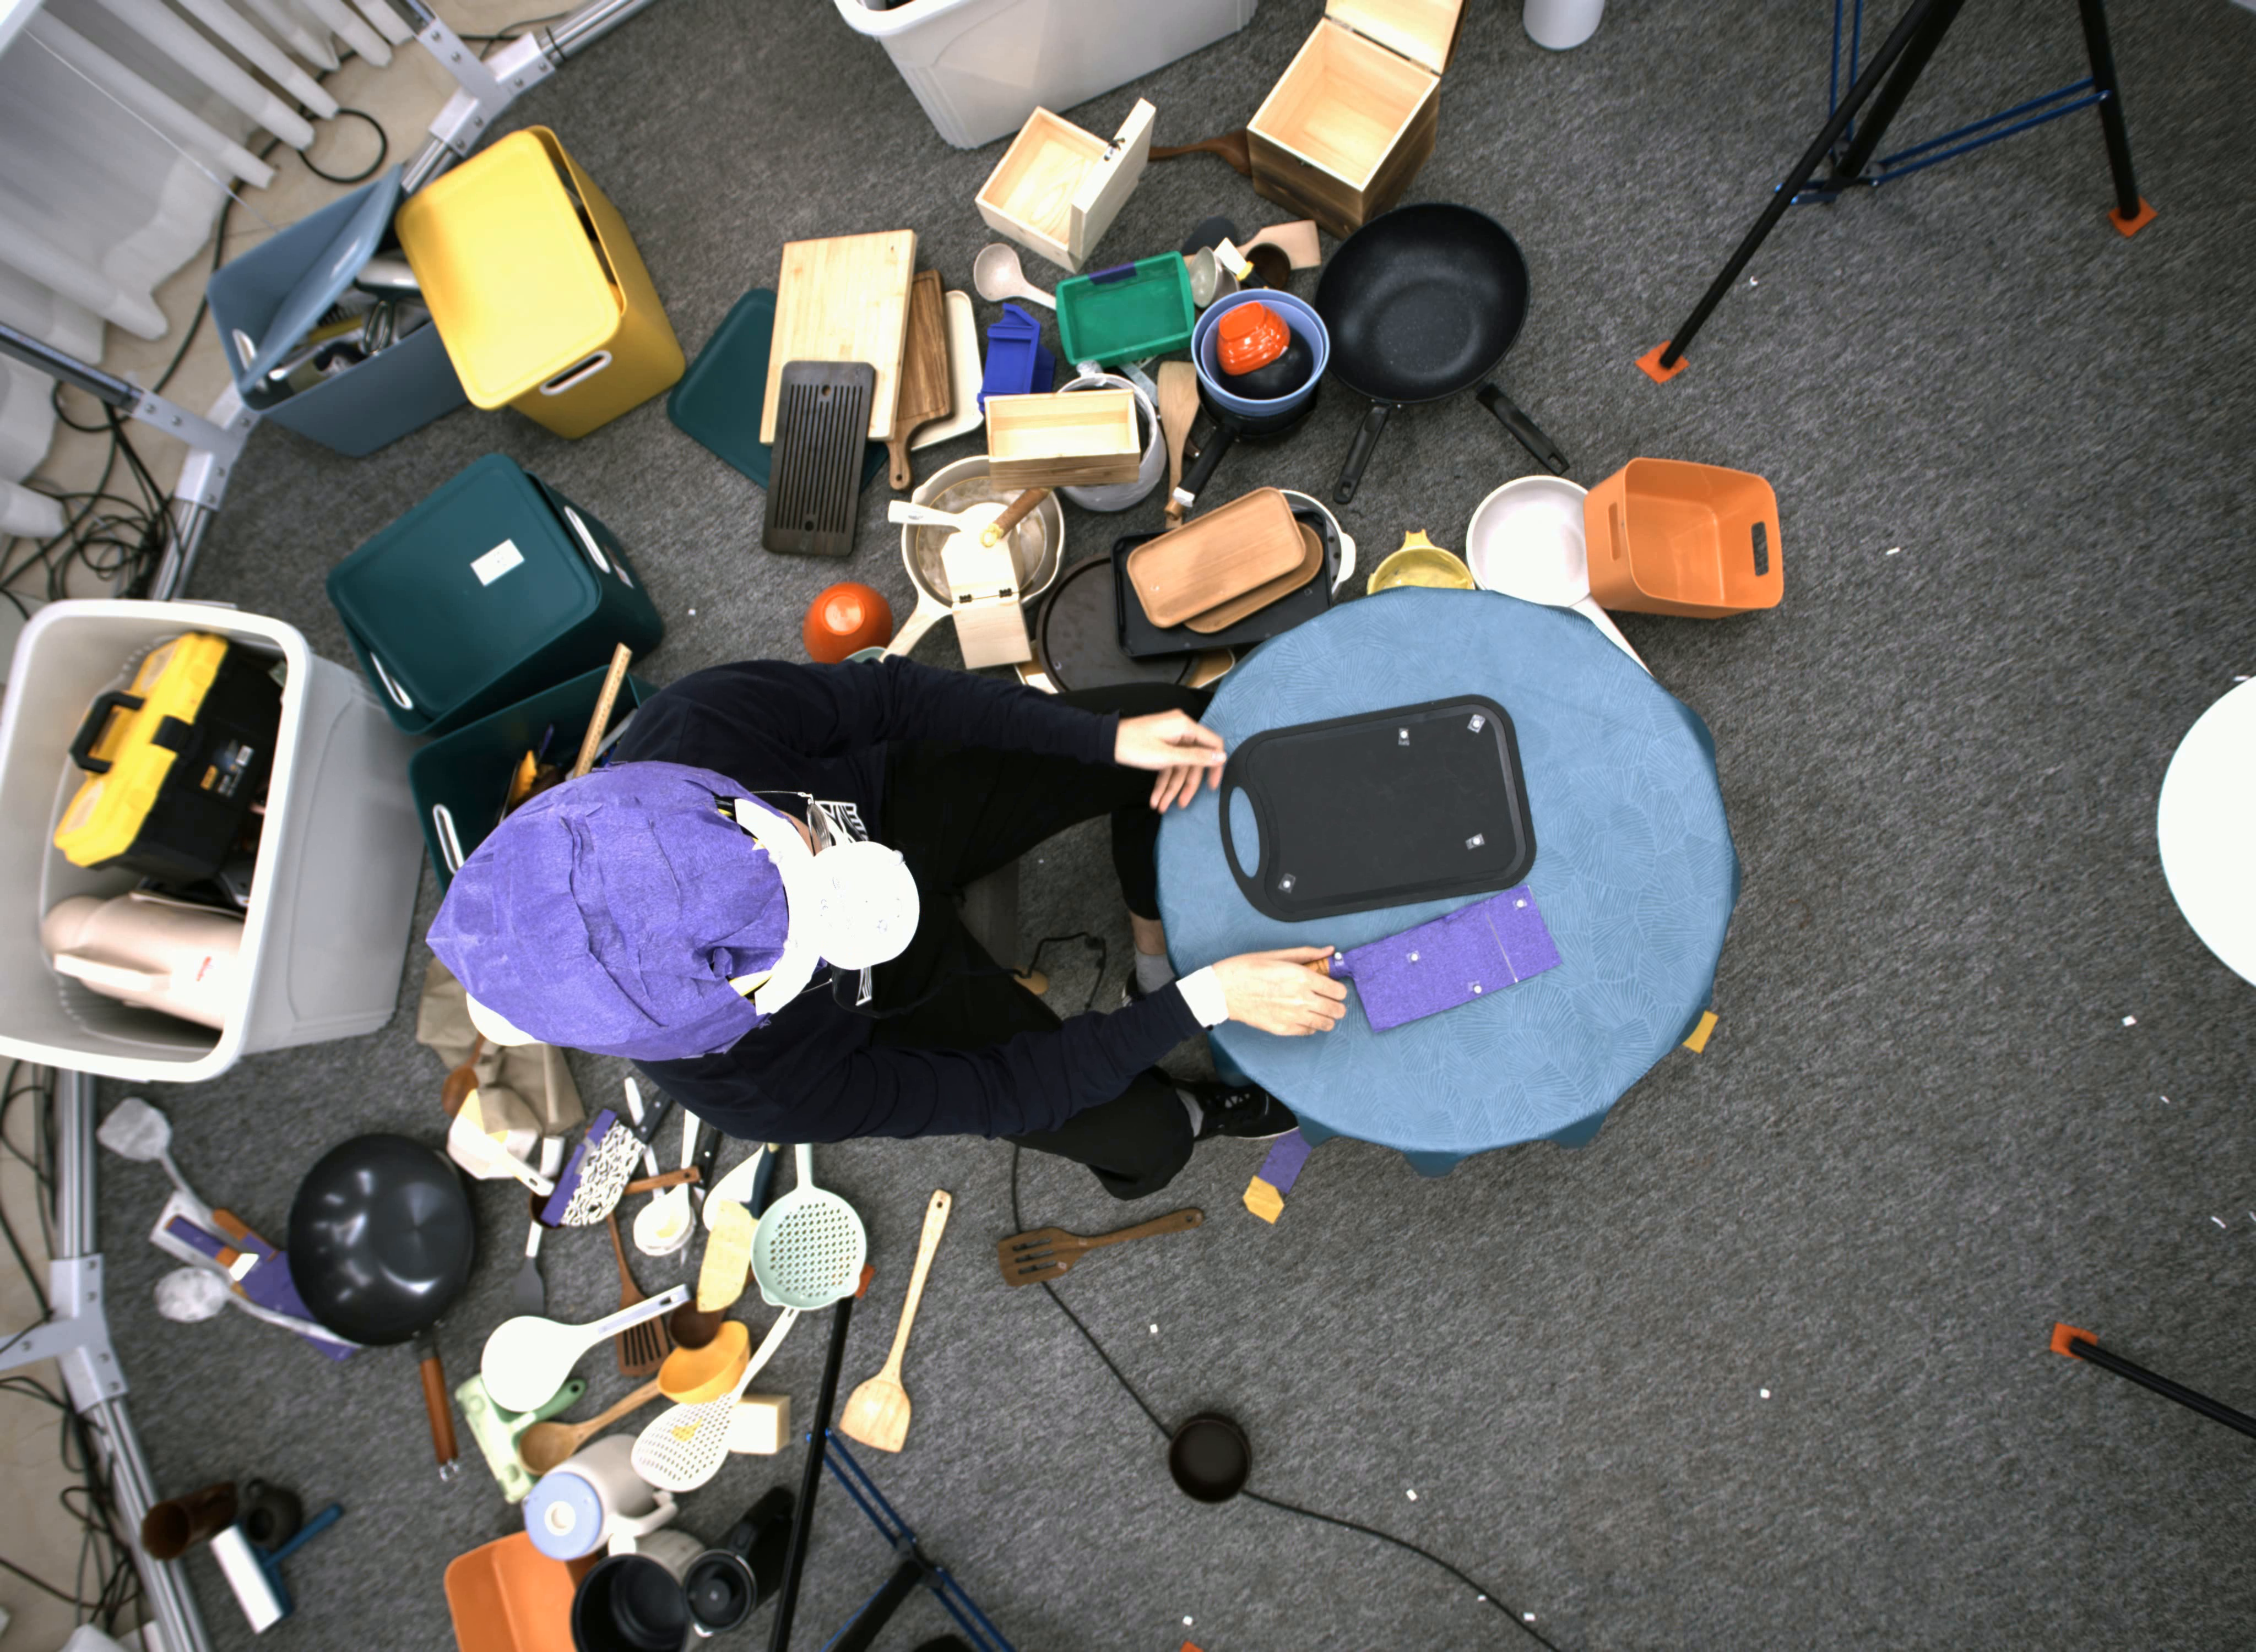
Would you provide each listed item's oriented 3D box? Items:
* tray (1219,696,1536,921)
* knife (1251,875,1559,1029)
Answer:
[{"bbox_3d":[0.259,-0.018,1.464,0.327,0.010,0.210,-9,85,10],"label":"tray"},{"bbox_3d":[0.289,0.152,1.438,0.317,0.032,0.103,-22,82,8],"label":"knife"}]
